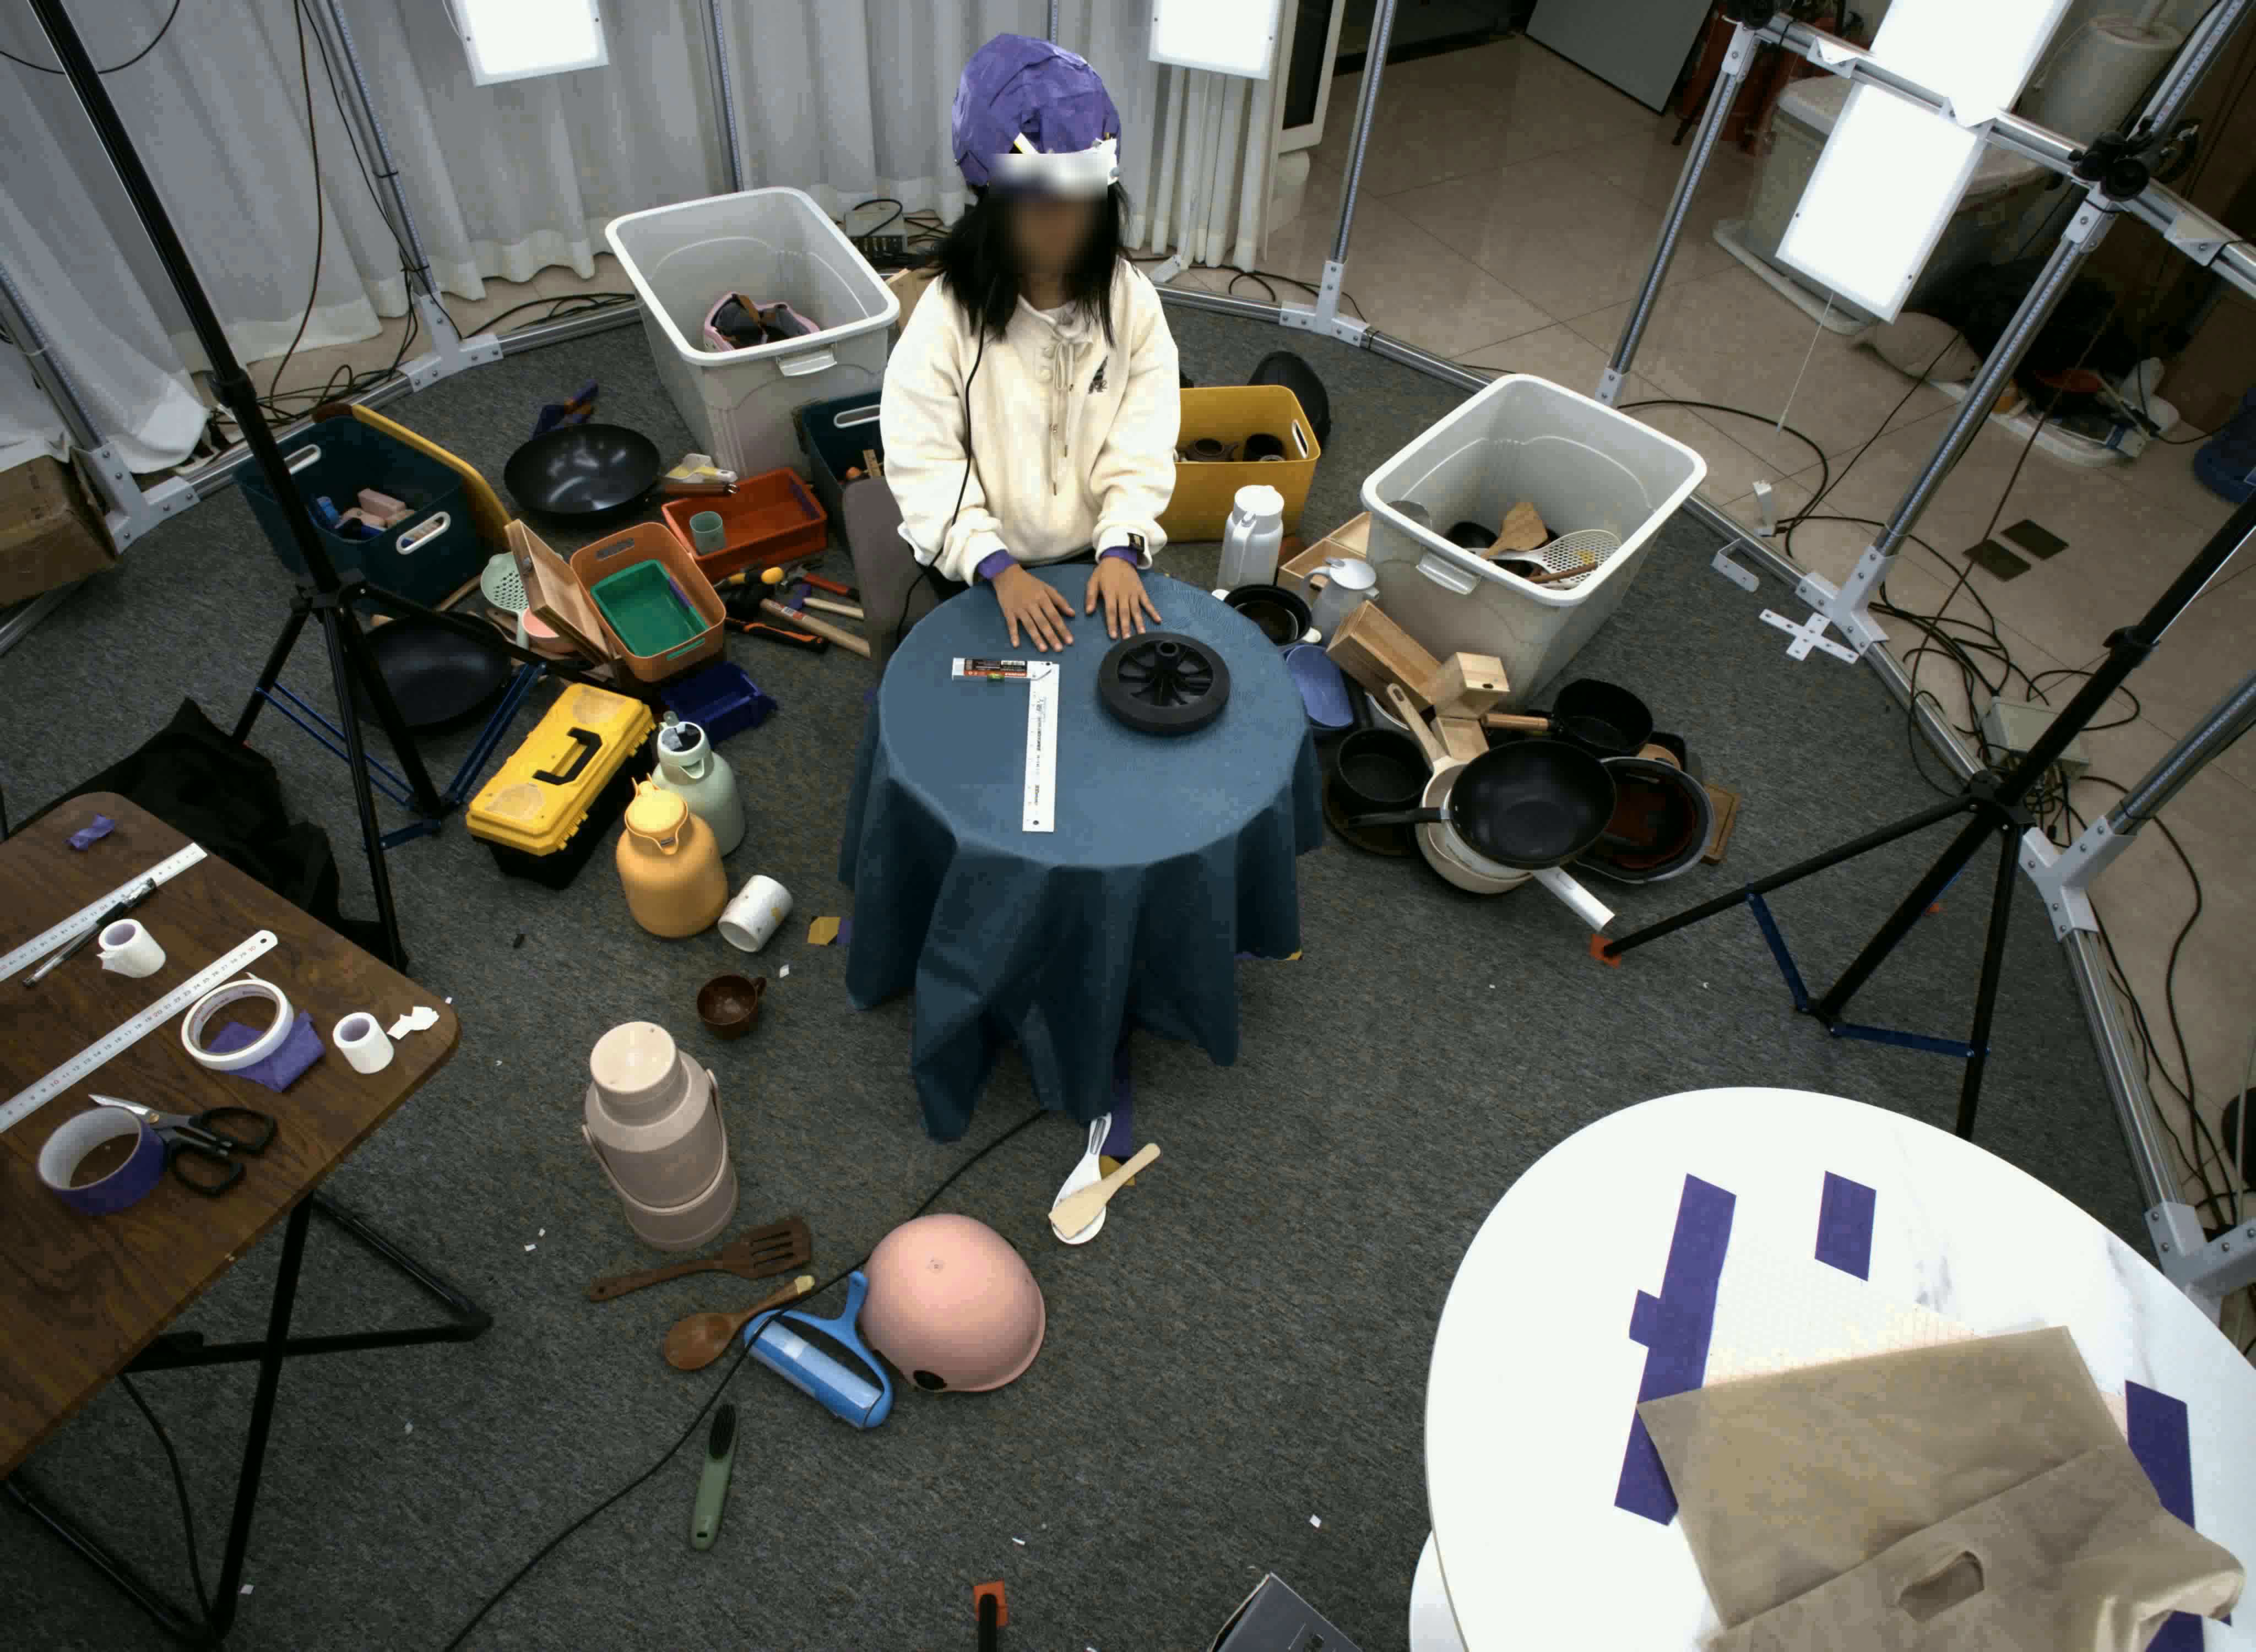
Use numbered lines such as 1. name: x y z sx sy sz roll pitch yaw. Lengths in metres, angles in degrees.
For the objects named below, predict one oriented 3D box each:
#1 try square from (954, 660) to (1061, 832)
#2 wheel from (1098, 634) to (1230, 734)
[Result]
1. try square: -0.172 -0.115 1.757 0.152 0.015 0.321 0 50 0
2. wheel: 0.053 -0.219 1.814 0.190 0.077 0.192 -15 52 -17
